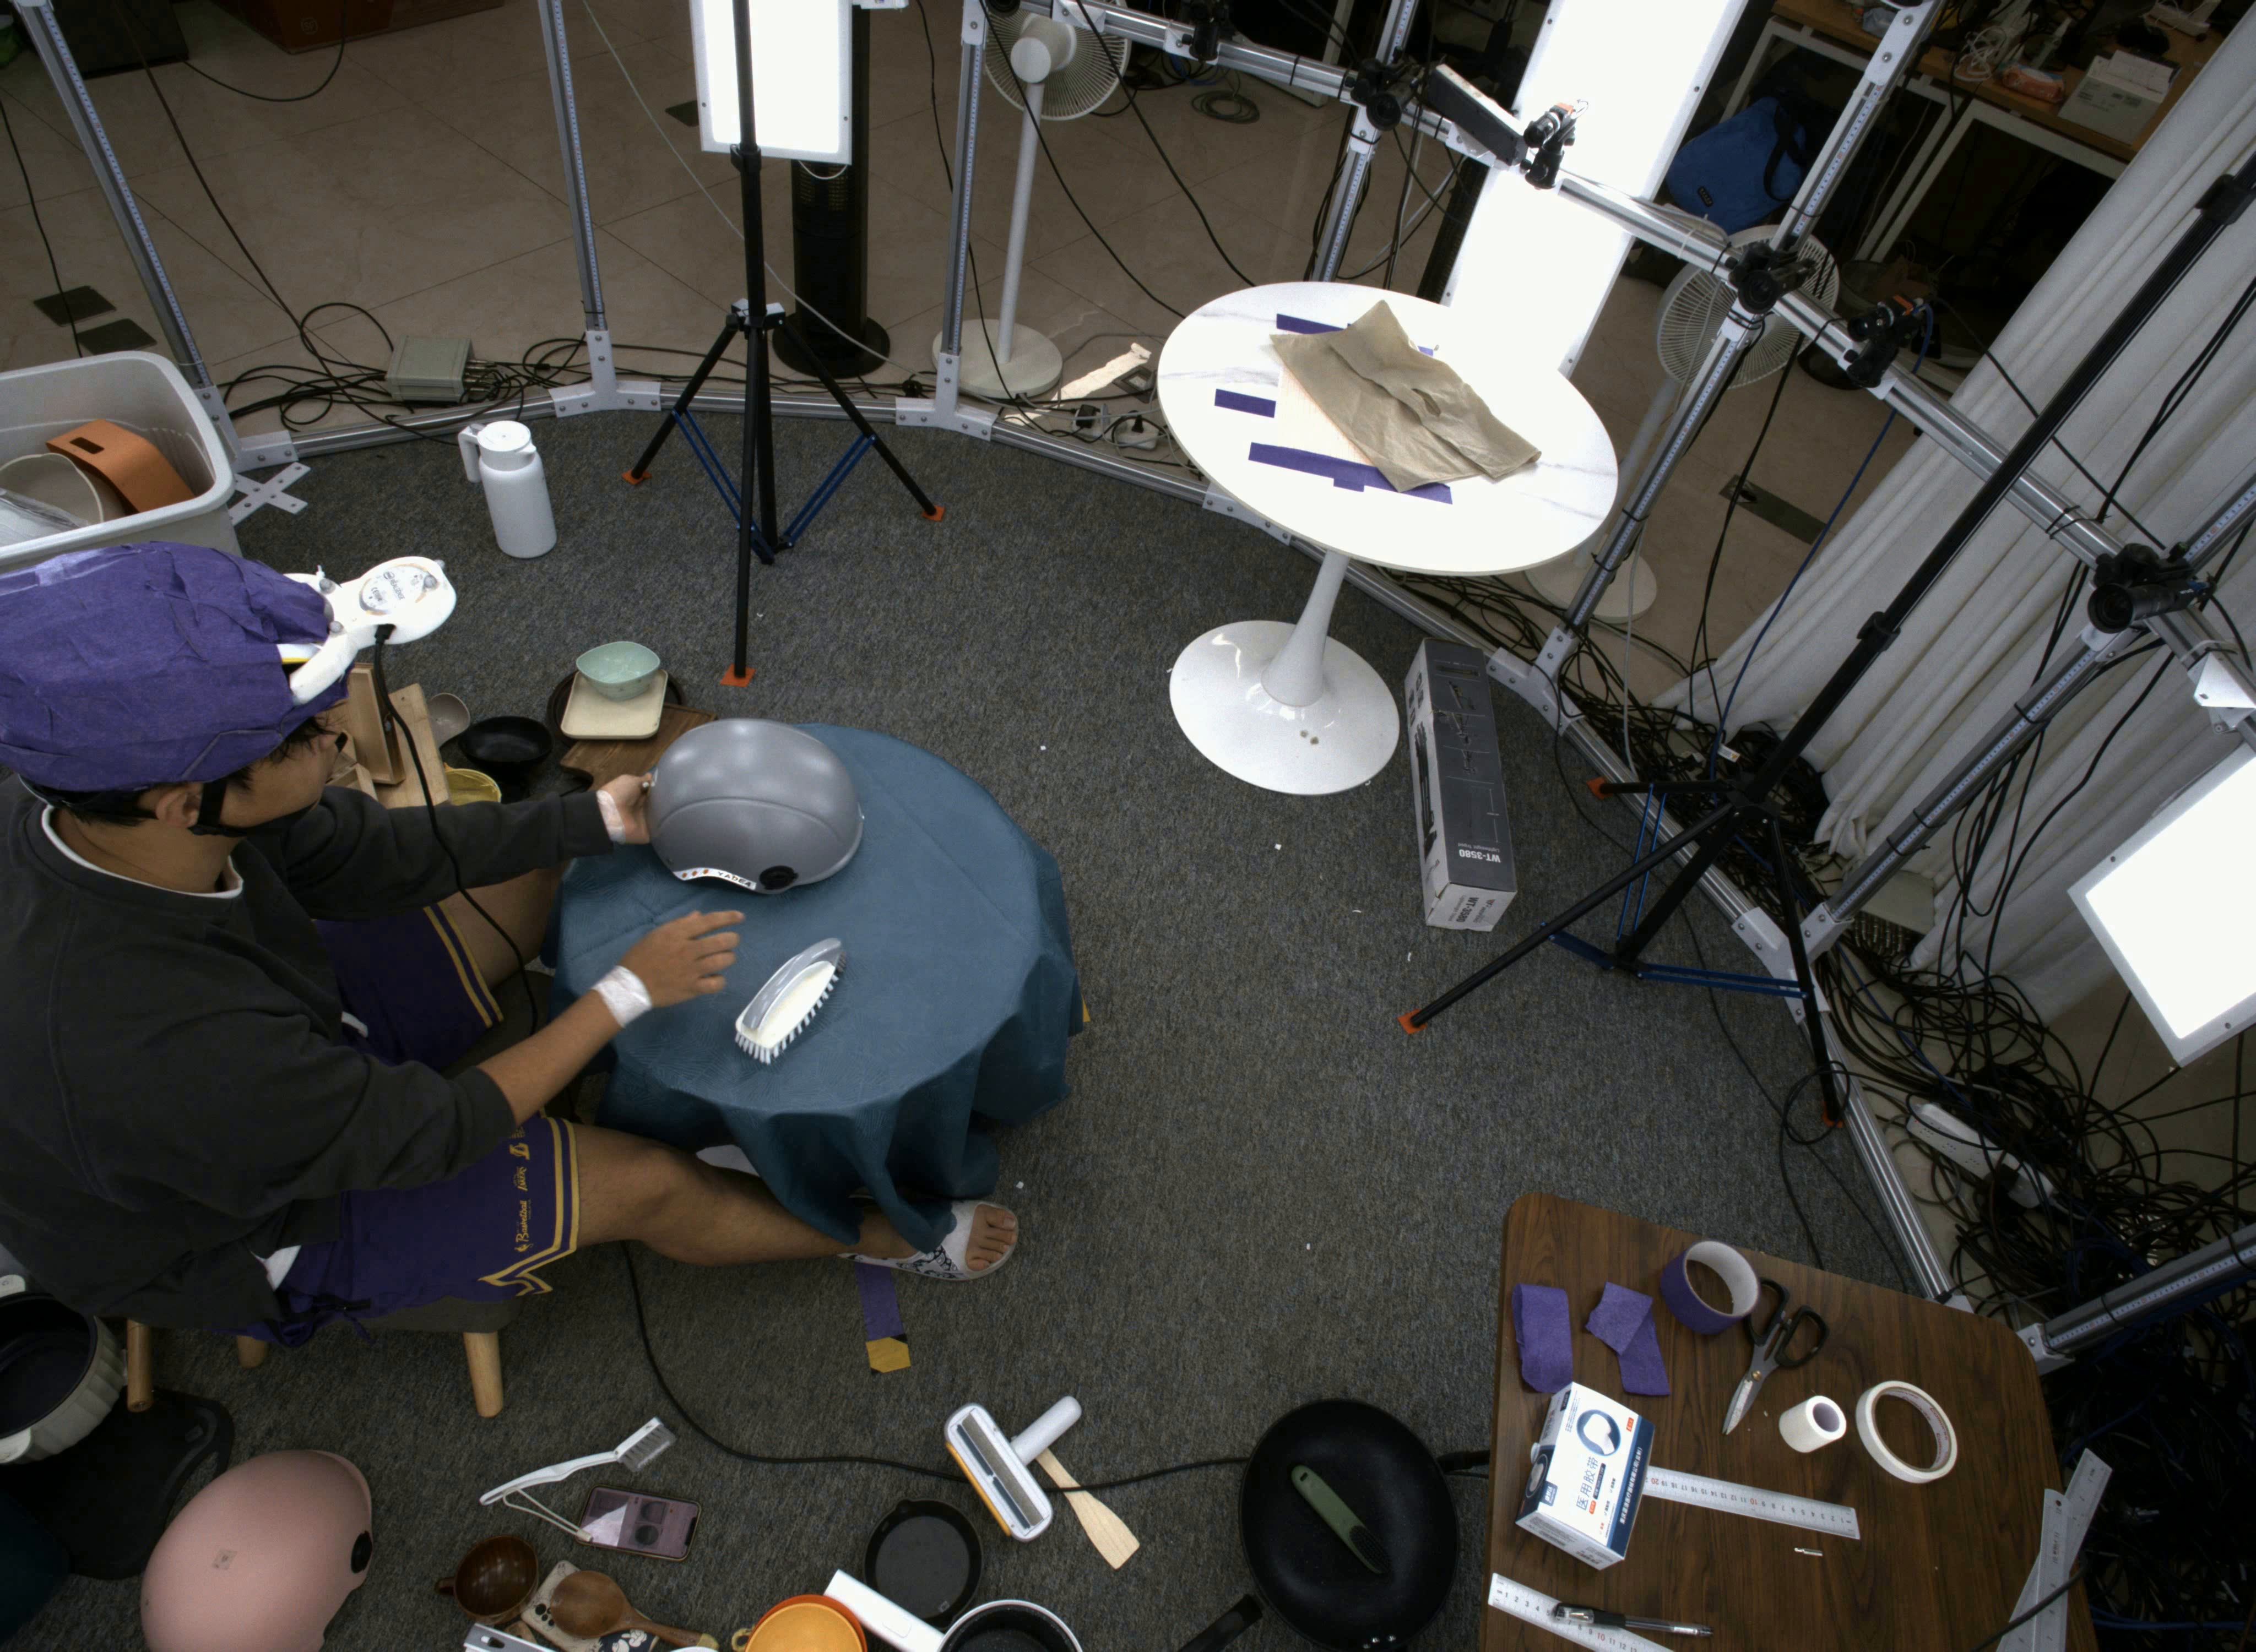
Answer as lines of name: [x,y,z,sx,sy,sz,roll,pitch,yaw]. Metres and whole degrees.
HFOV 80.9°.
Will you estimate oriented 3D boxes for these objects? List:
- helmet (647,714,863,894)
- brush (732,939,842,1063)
helmet: [-0.475,-0.048,1.644,0.277,0.171,0.228,3,60,-14]
brush: [-0.396,0.186,1.538,0.060,0.096,0.175,32,51,11]
